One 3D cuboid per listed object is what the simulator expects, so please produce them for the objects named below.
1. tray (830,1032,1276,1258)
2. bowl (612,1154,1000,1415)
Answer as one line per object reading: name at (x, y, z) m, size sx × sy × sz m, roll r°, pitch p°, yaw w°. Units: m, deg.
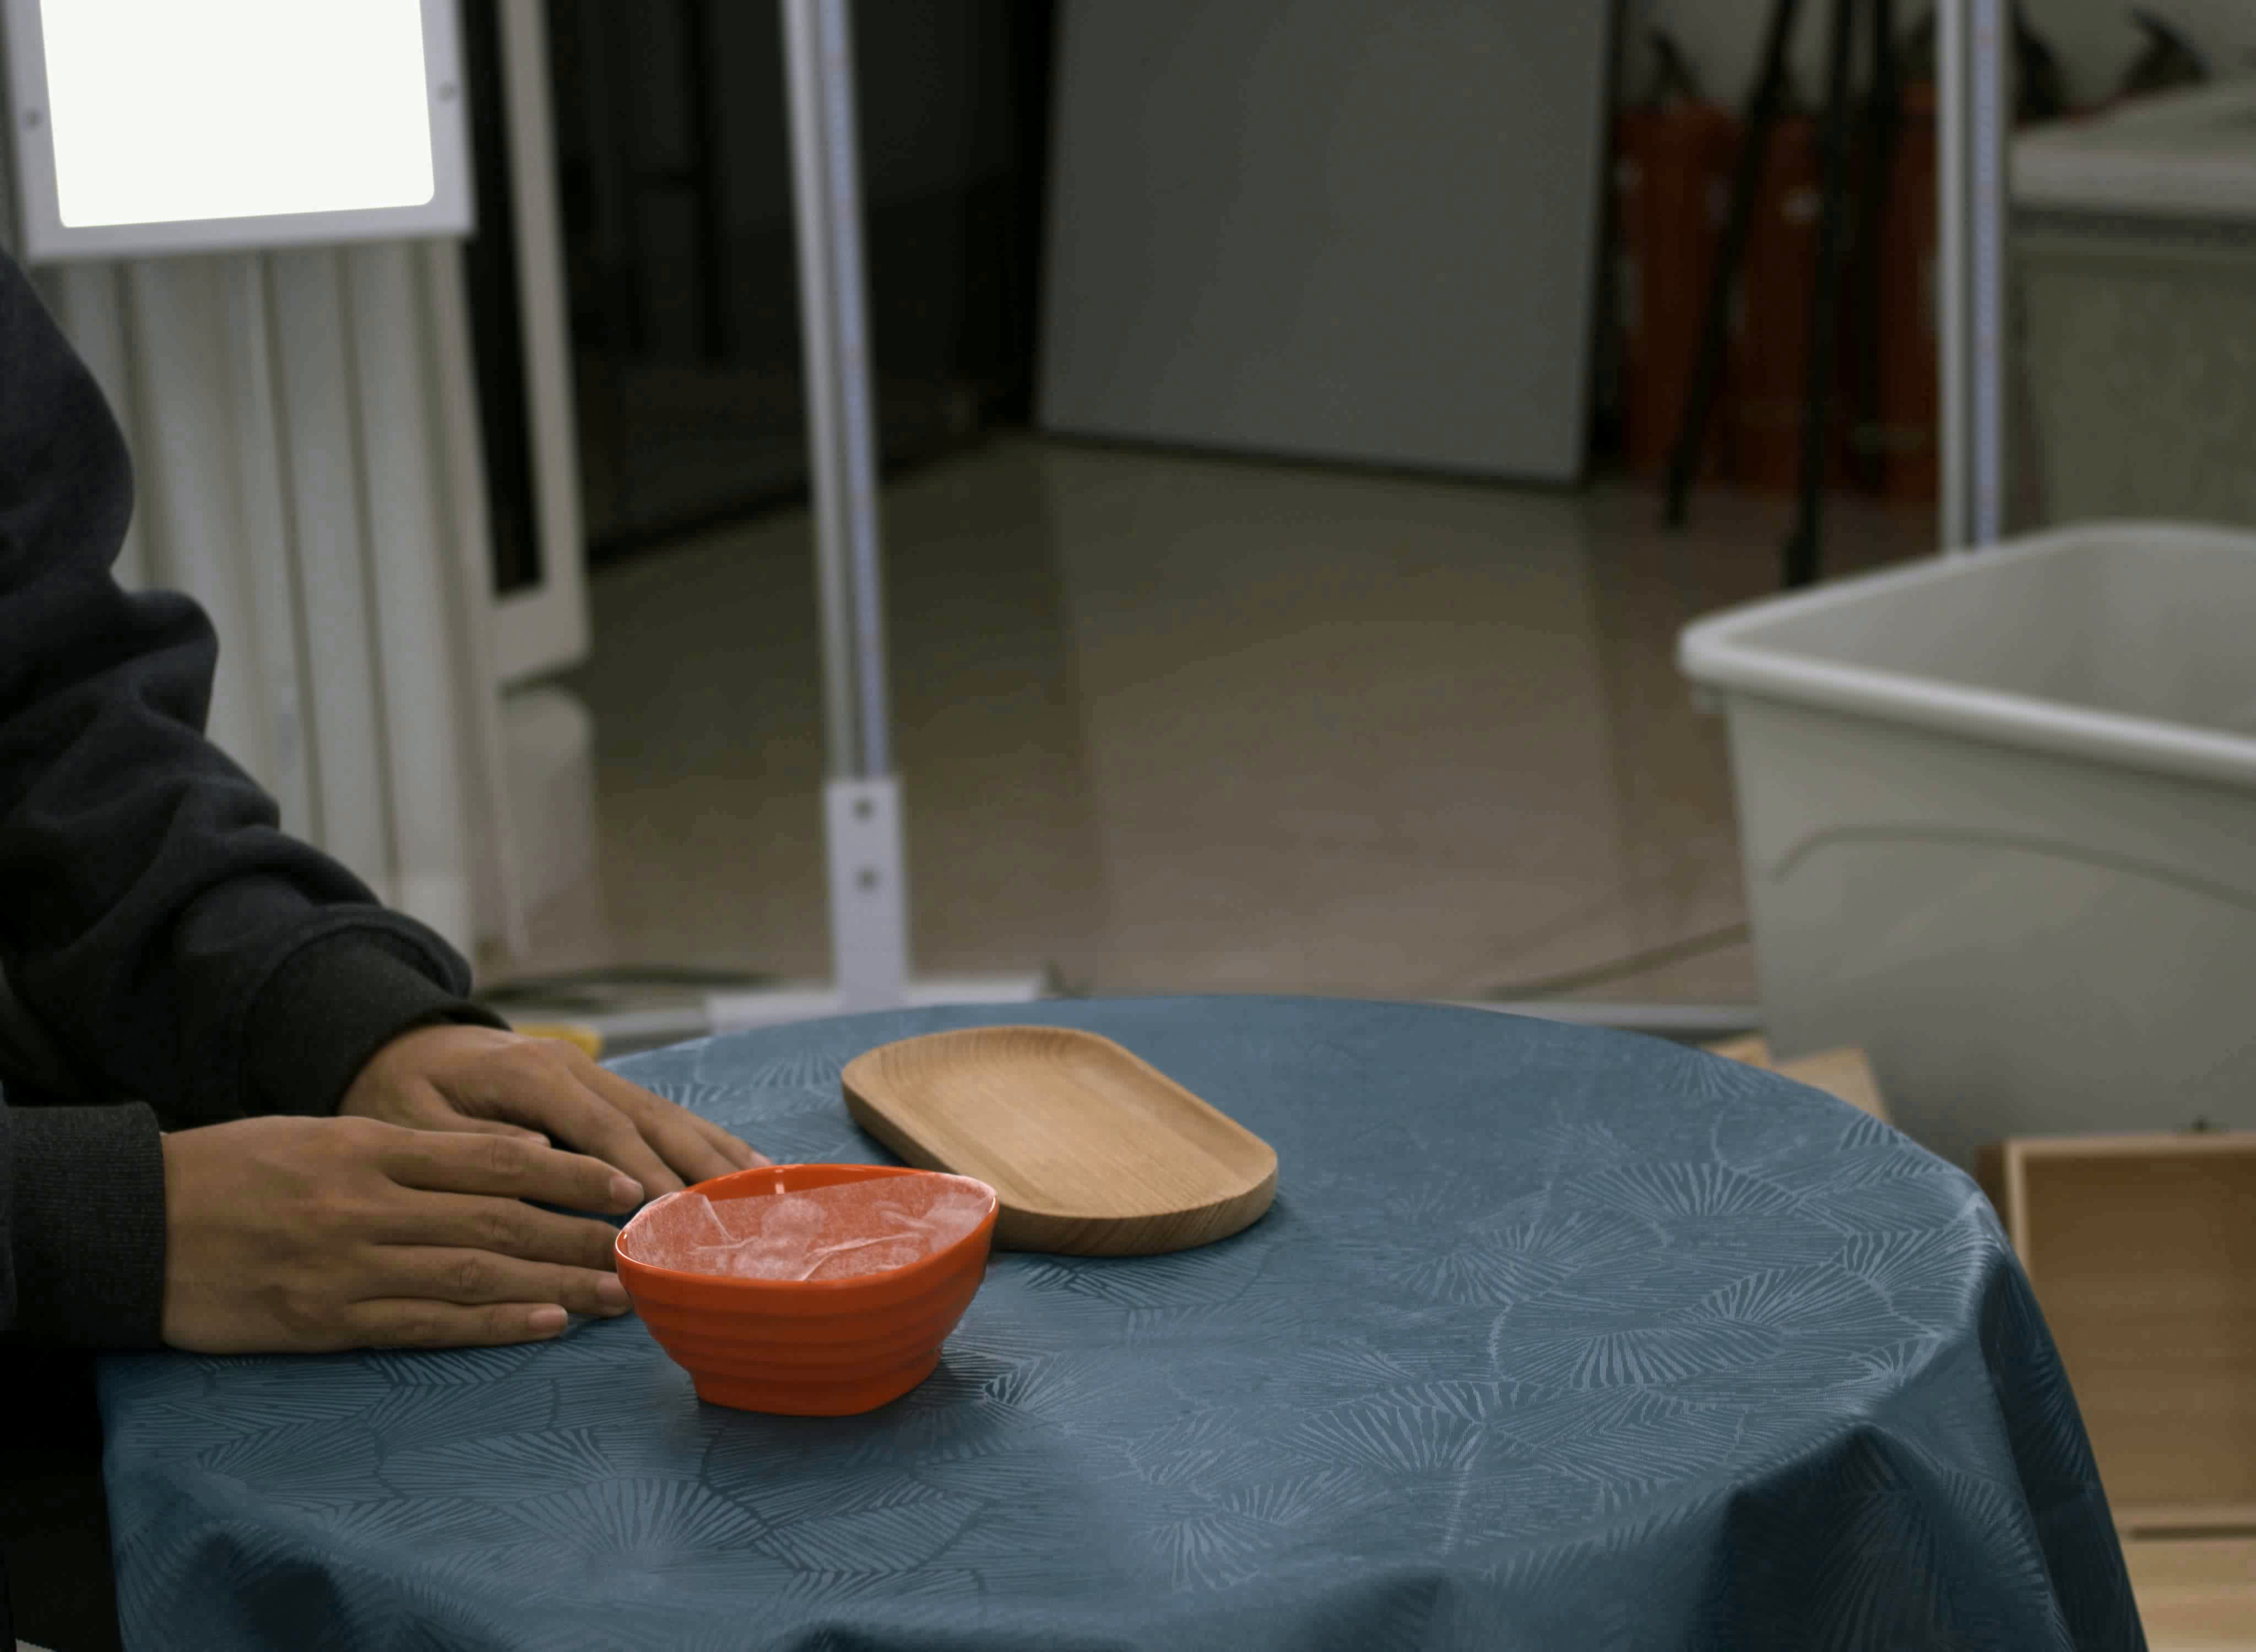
tray at (-0.027, 0.105, 1.809) m, size 0.099 × 0.020 × 0.233 m, roll -9°, pitch 13°, yaw -21°
bowl at (-0.094, 0.139, 1.608) m, size 0.117 × 0.052 × 0.119 m, roll -3°, pitch 15°, yaw 0°
